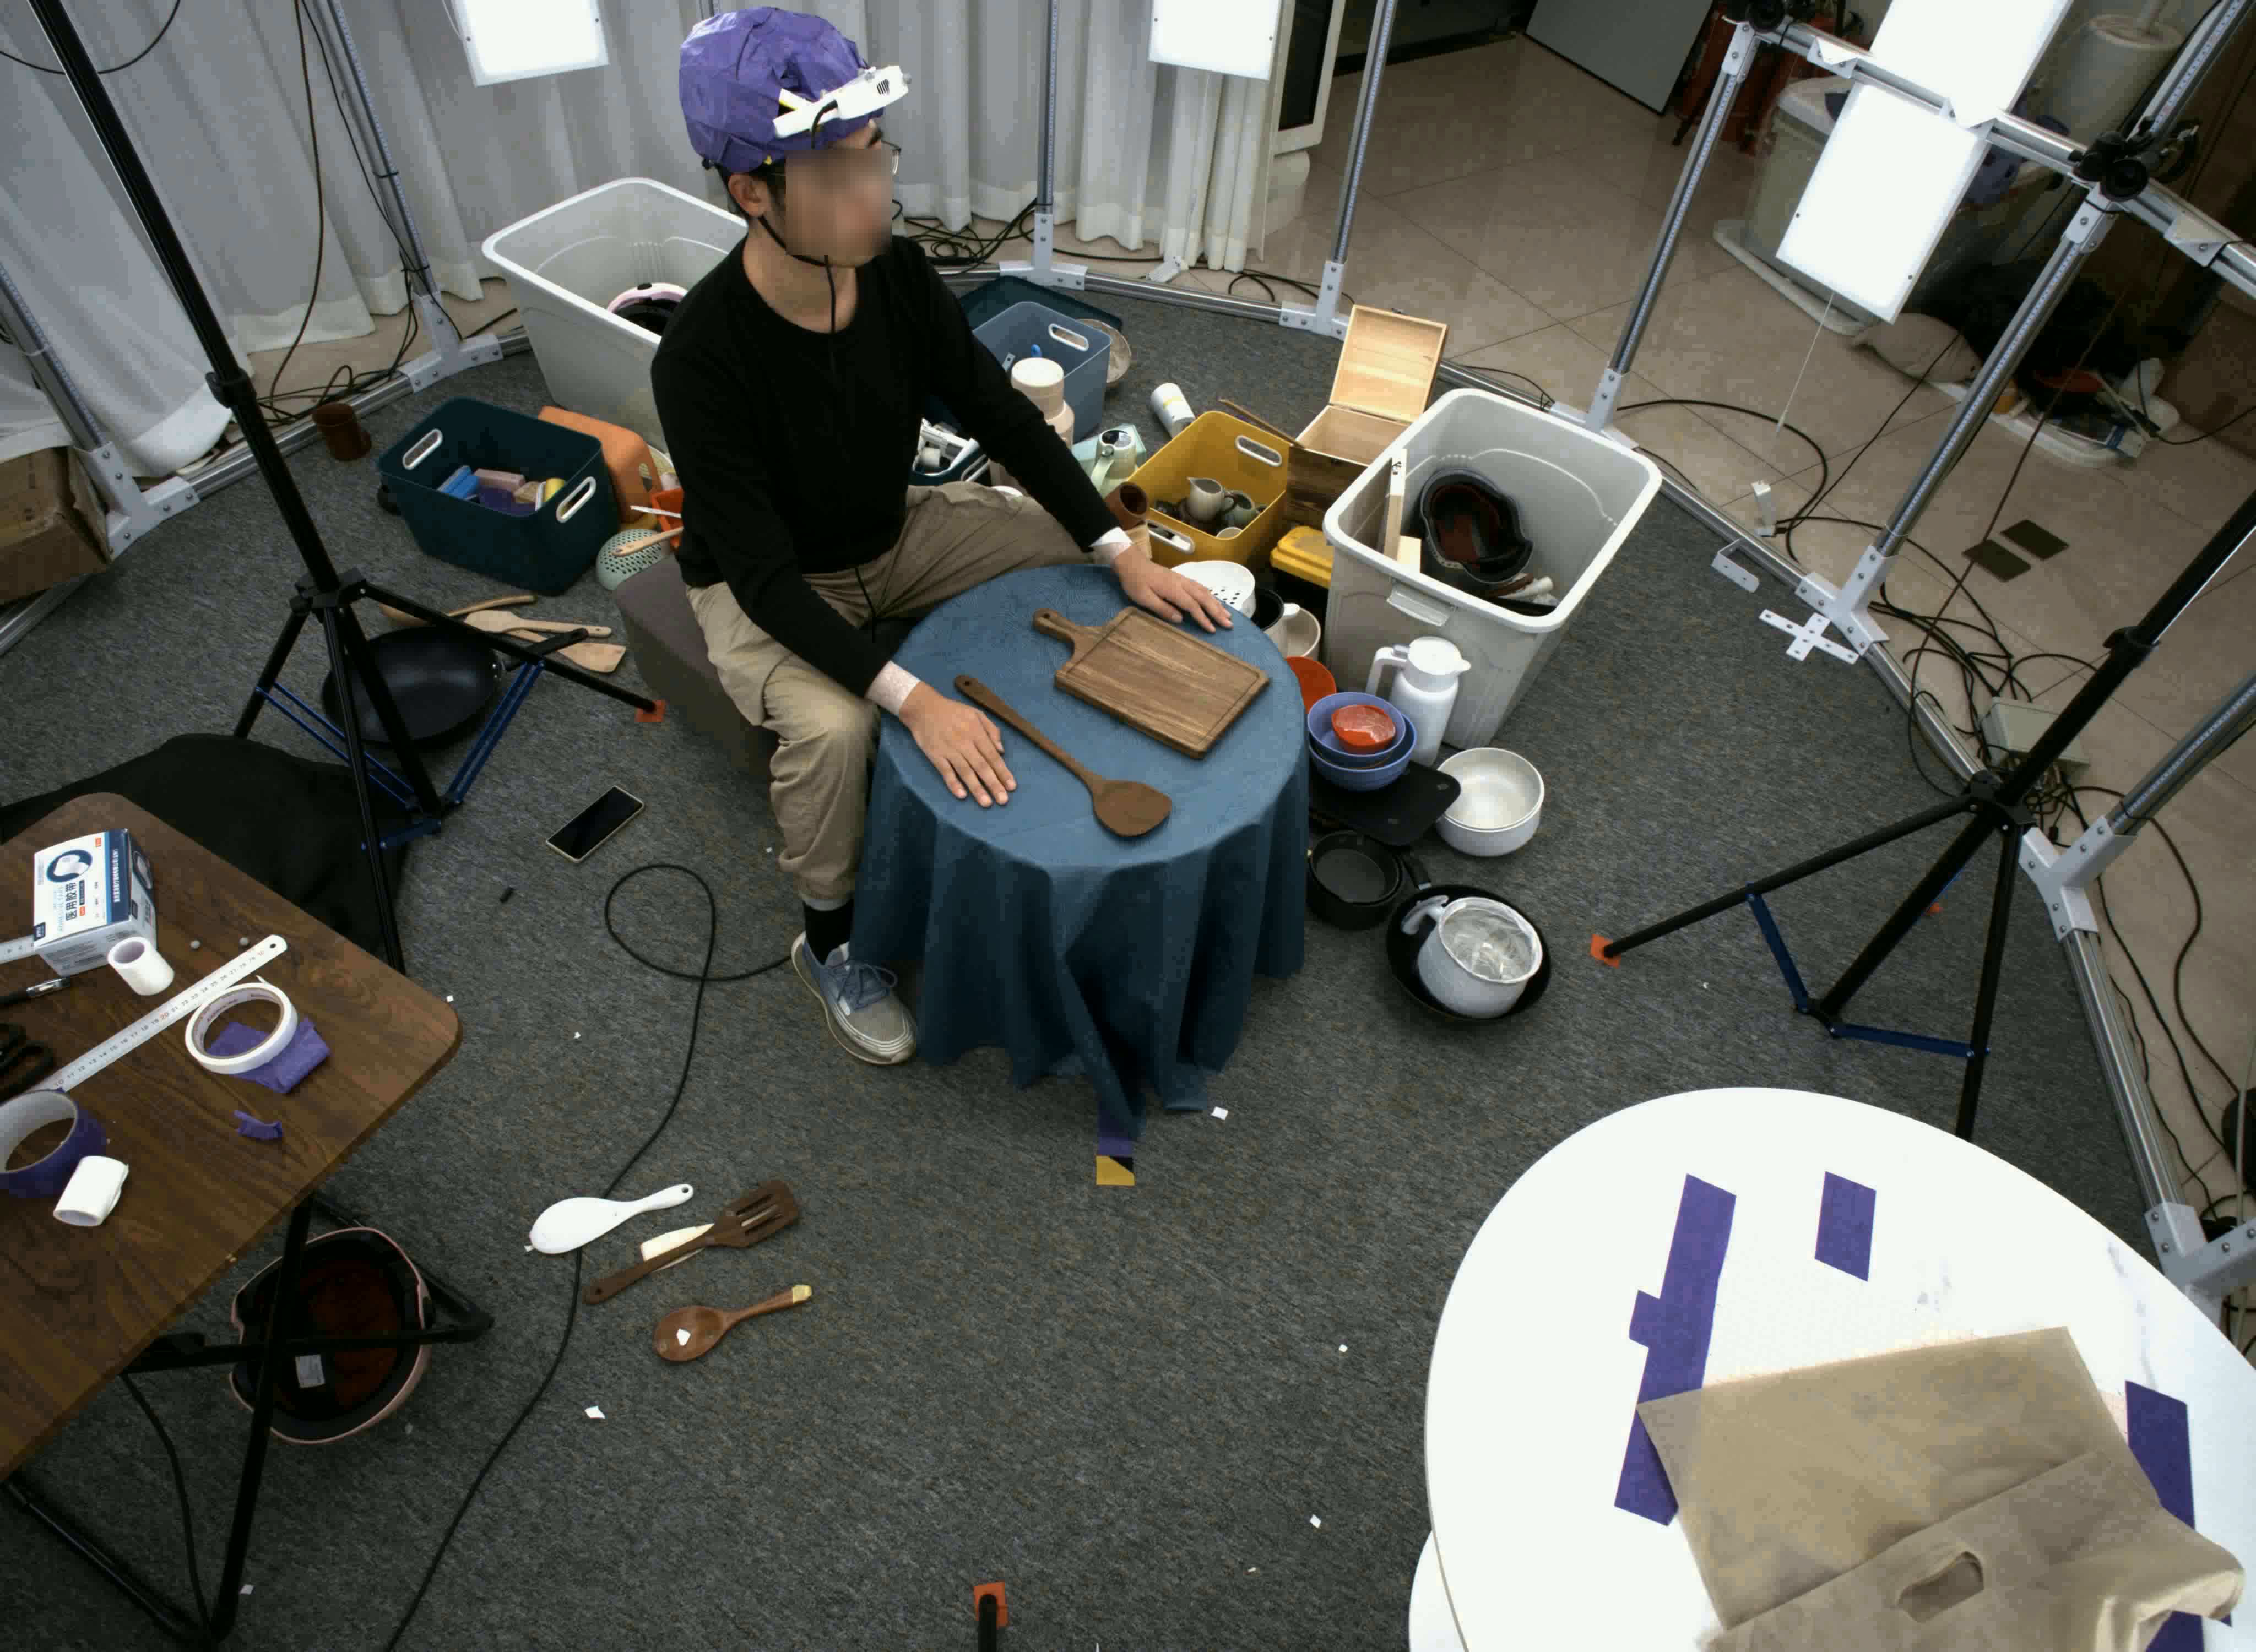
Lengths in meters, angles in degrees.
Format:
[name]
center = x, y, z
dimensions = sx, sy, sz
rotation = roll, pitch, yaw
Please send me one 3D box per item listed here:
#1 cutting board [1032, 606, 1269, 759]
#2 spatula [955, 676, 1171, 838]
[cutting board]
center = 0.009, -0.235, 1.860
dimensions = 0.355, 0.022, 0.204
rotation = 29, 53, 20
[spatula]
center = -0.104, -0.106, 1.745
dimensions = 0.391, 0.015, 0.097
rotation = 38, 56, 26
